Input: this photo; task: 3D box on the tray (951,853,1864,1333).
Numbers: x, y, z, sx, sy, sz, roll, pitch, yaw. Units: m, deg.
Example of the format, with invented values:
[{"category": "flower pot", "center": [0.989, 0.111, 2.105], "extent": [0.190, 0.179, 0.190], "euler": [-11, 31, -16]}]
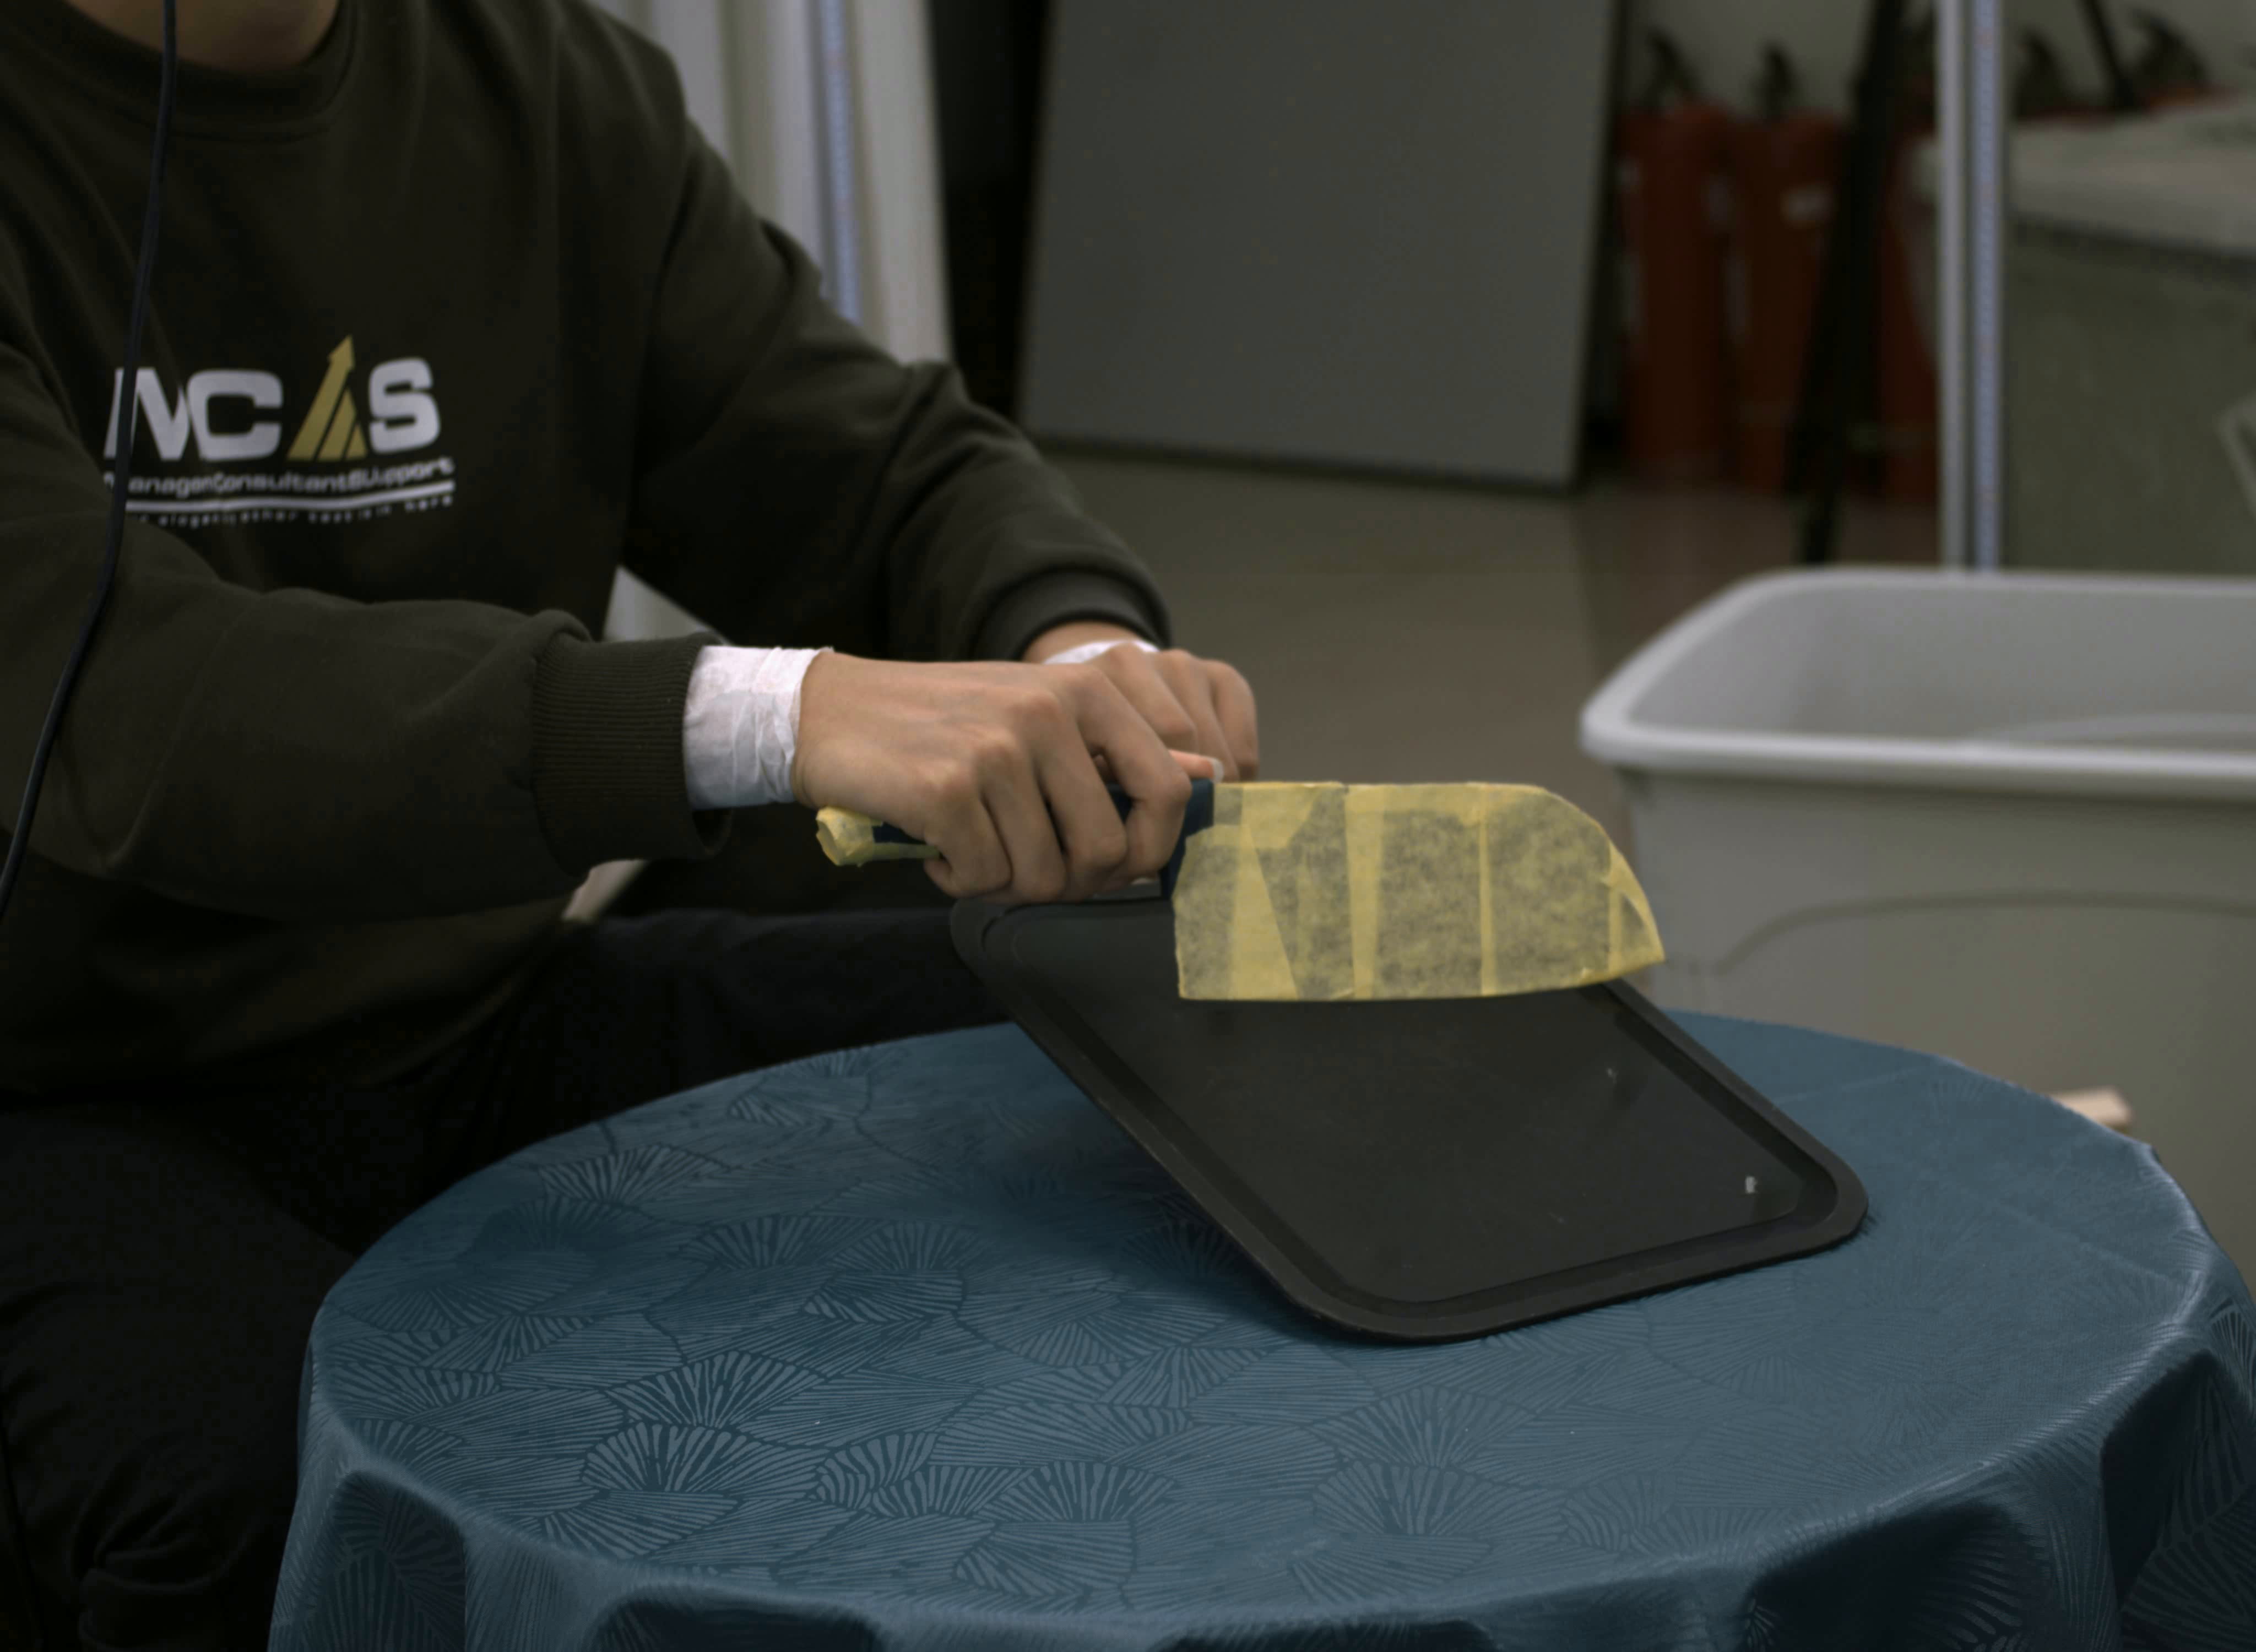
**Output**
[{"category": "tray", "center": [0.082, 0.071, 1.761], "extent": [0.206, 0.010, 0.329], "euler": [-10, 30, -26]}]

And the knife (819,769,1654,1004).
[{"category": "knife", "center": [0.039, 0.019, 1.788], "extent": [0.284, 0.082, 0.027], "euler": [2, -8, -10]}]
